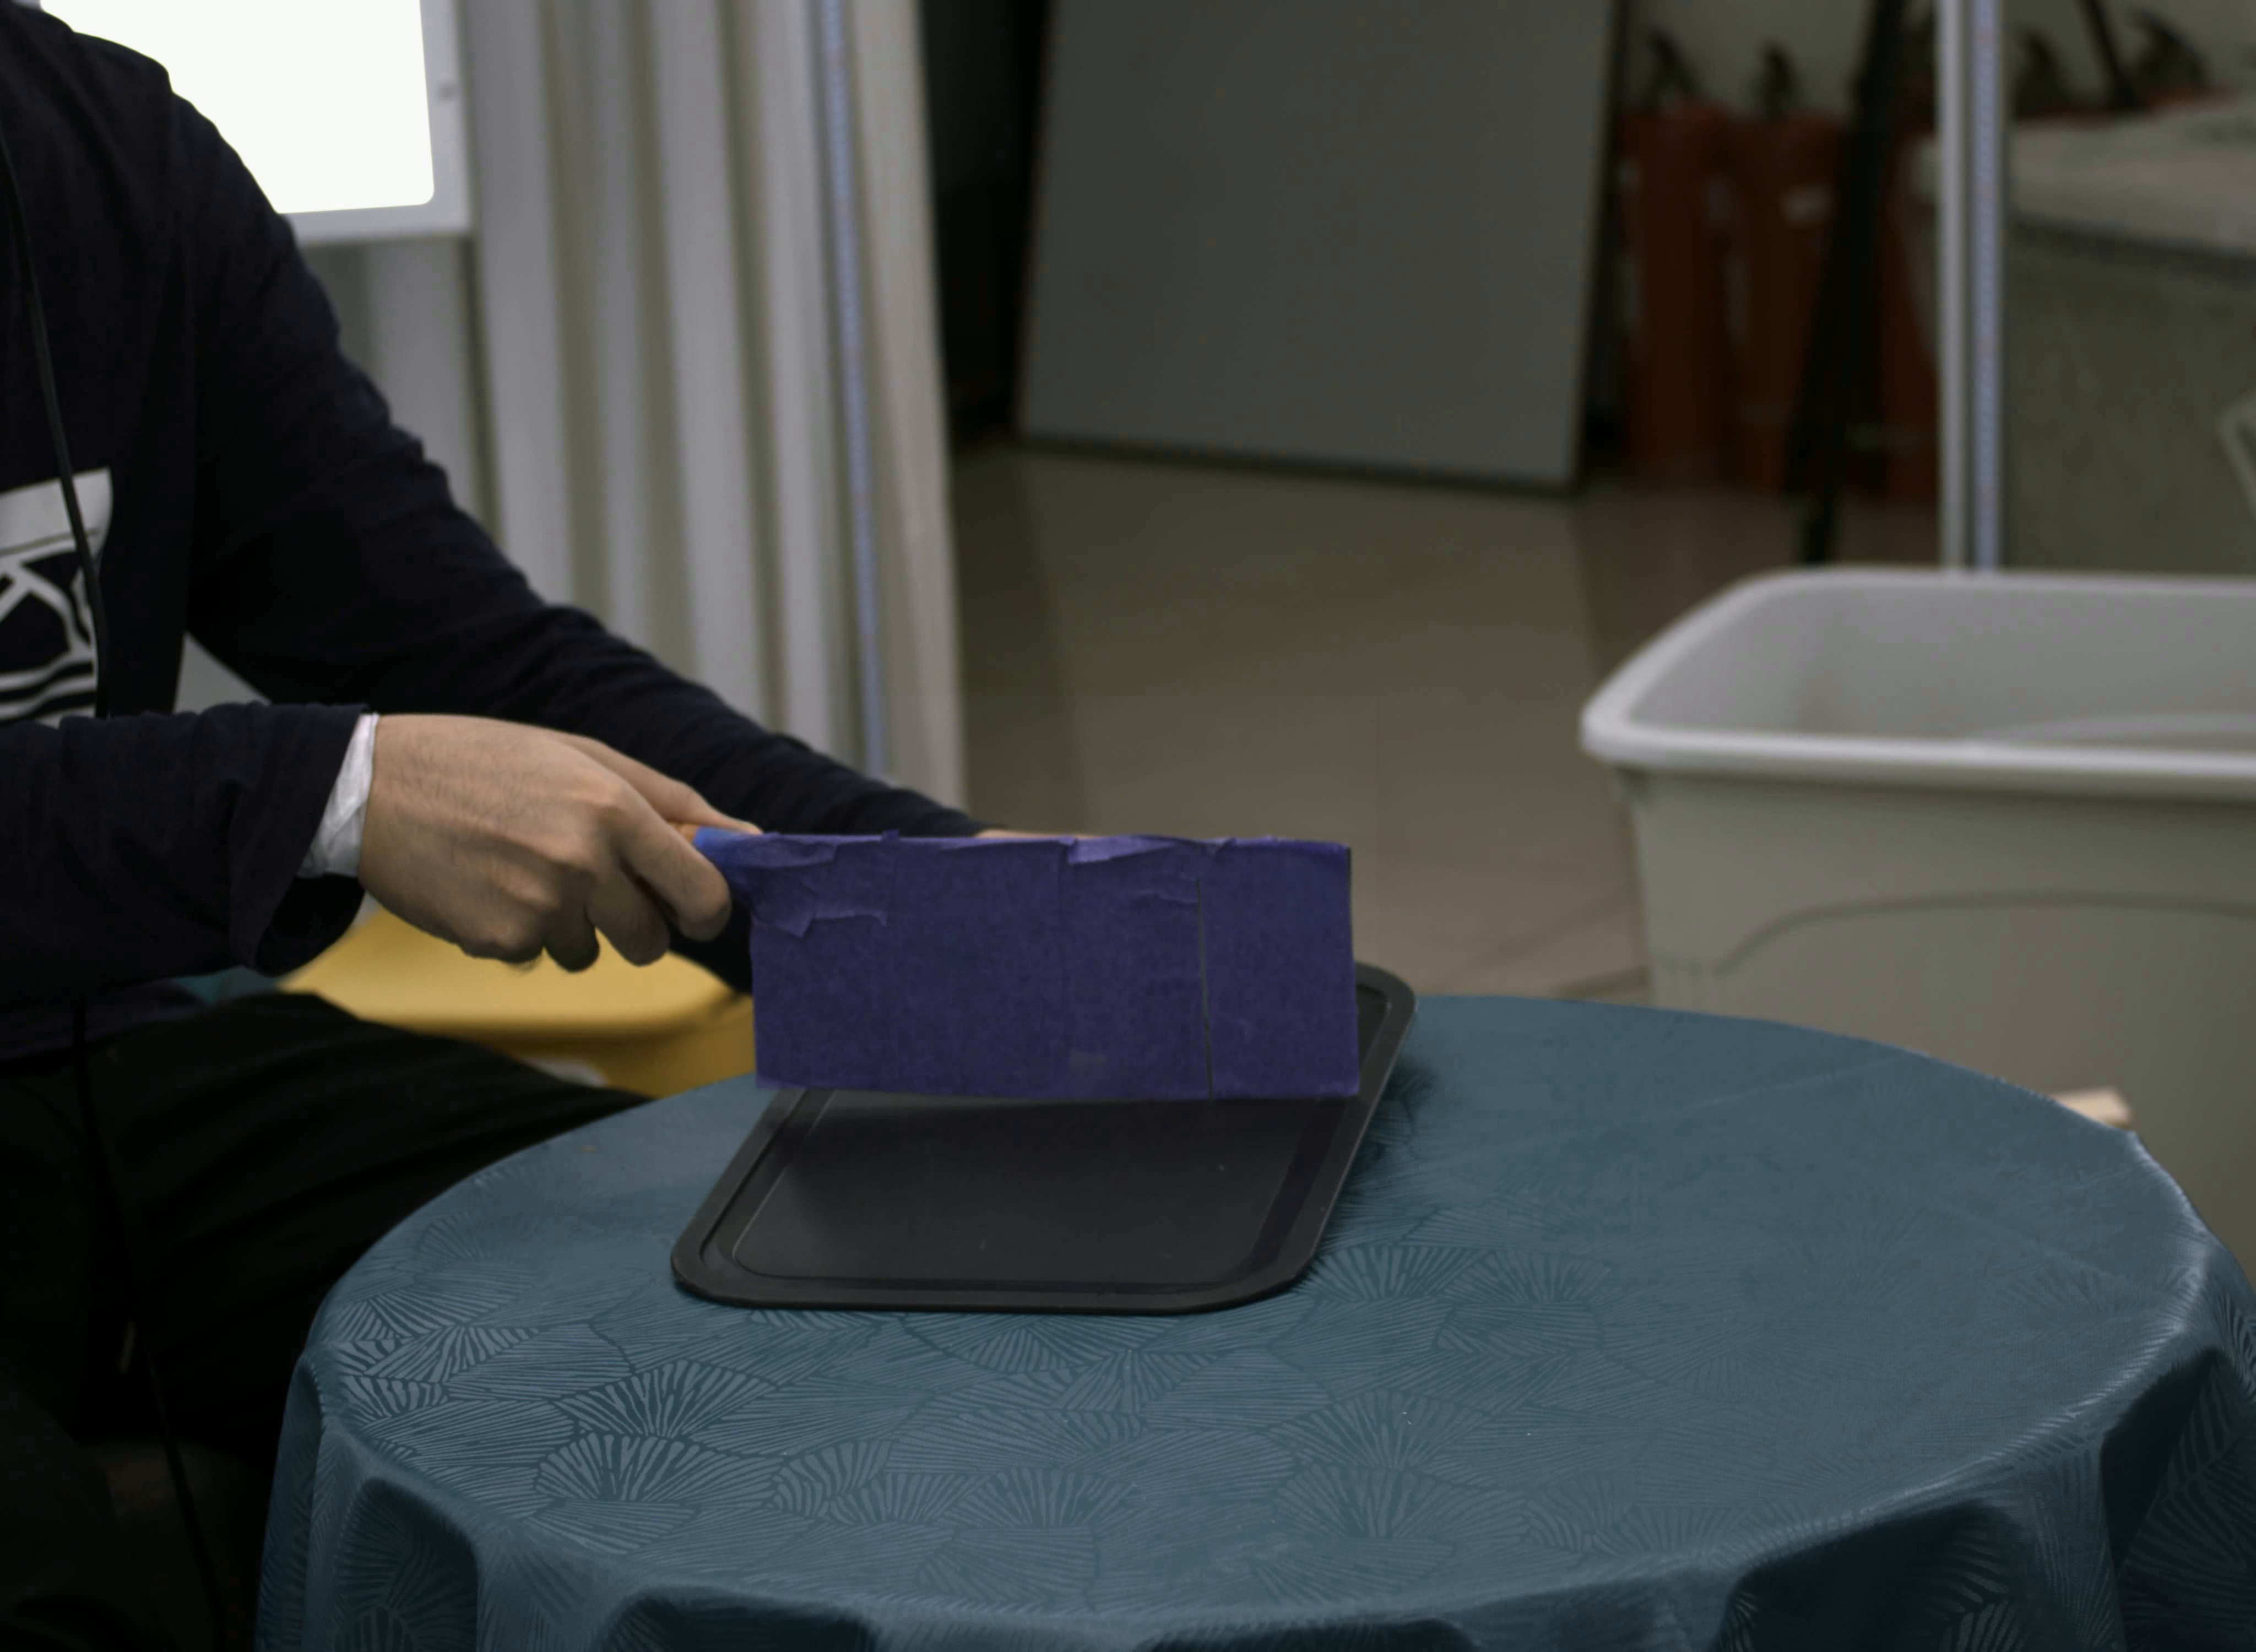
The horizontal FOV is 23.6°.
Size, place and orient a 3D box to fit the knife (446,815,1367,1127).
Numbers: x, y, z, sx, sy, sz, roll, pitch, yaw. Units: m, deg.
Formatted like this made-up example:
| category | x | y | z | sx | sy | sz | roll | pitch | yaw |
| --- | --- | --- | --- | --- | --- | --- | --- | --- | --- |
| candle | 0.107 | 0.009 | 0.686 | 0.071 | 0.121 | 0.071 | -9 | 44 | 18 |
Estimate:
| category | x | y | z | sx | sy | sz | roll | pitch | yaw |
| --- | --- | --- | --- | --- | --- | --- | --- | --- | --- |
| knife | -0.075 | 0.049 | 1.814 | 0.313 | 0.105 | 0.032 | 0 | 10 | 11 |

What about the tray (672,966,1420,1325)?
| category | x | y | z | sx | sy | sz | roll | pitch | yaw |
| --- | --- | --- | --- | --- | --- | --- | --- | --- | --- |
| tray | -0.020 | 0.097 | 1.813 | 0.210 | 0.010 | 0.324 | 0 | 19 | 14 |
